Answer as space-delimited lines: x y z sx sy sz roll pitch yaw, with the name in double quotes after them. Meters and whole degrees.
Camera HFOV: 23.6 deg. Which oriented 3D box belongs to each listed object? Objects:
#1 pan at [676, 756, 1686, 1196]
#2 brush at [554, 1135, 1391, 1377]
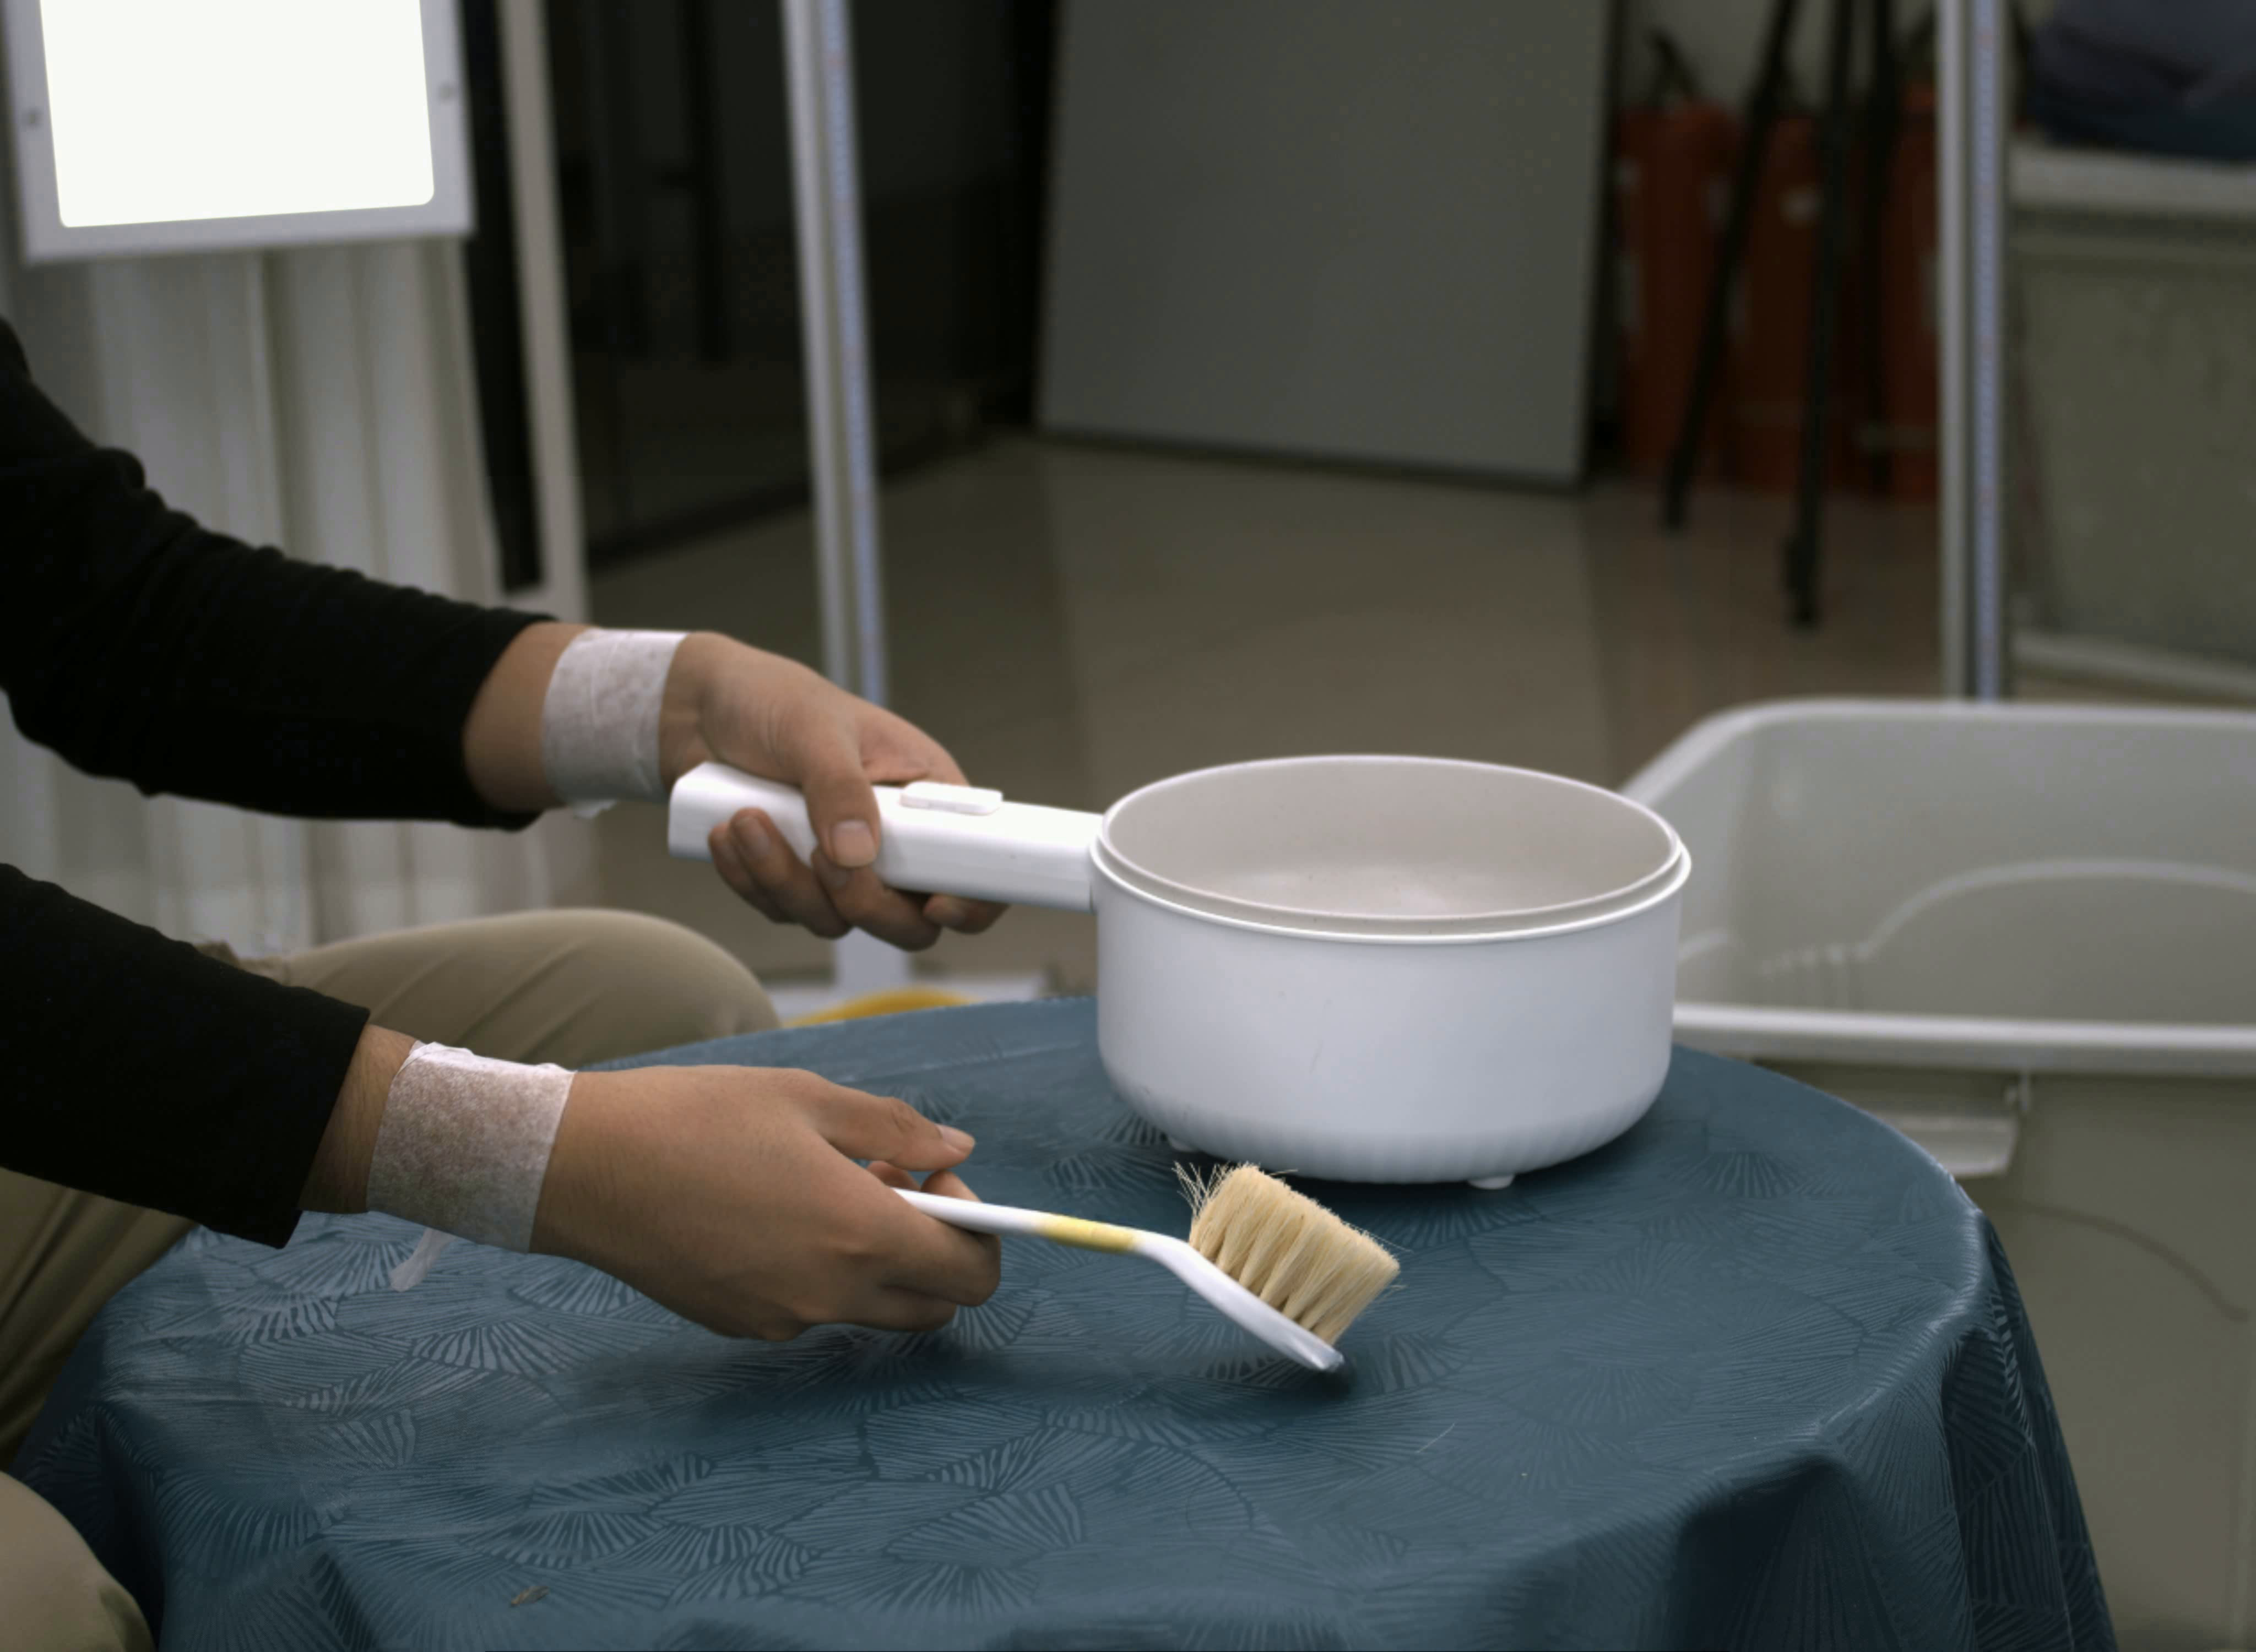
0.014 0.045 1.828 0.354 0.103 0.199 5 17 20 "pan"
-0.048 0.105 1.609 0.267 0.057 0.068 13 -10 22 "brush"
